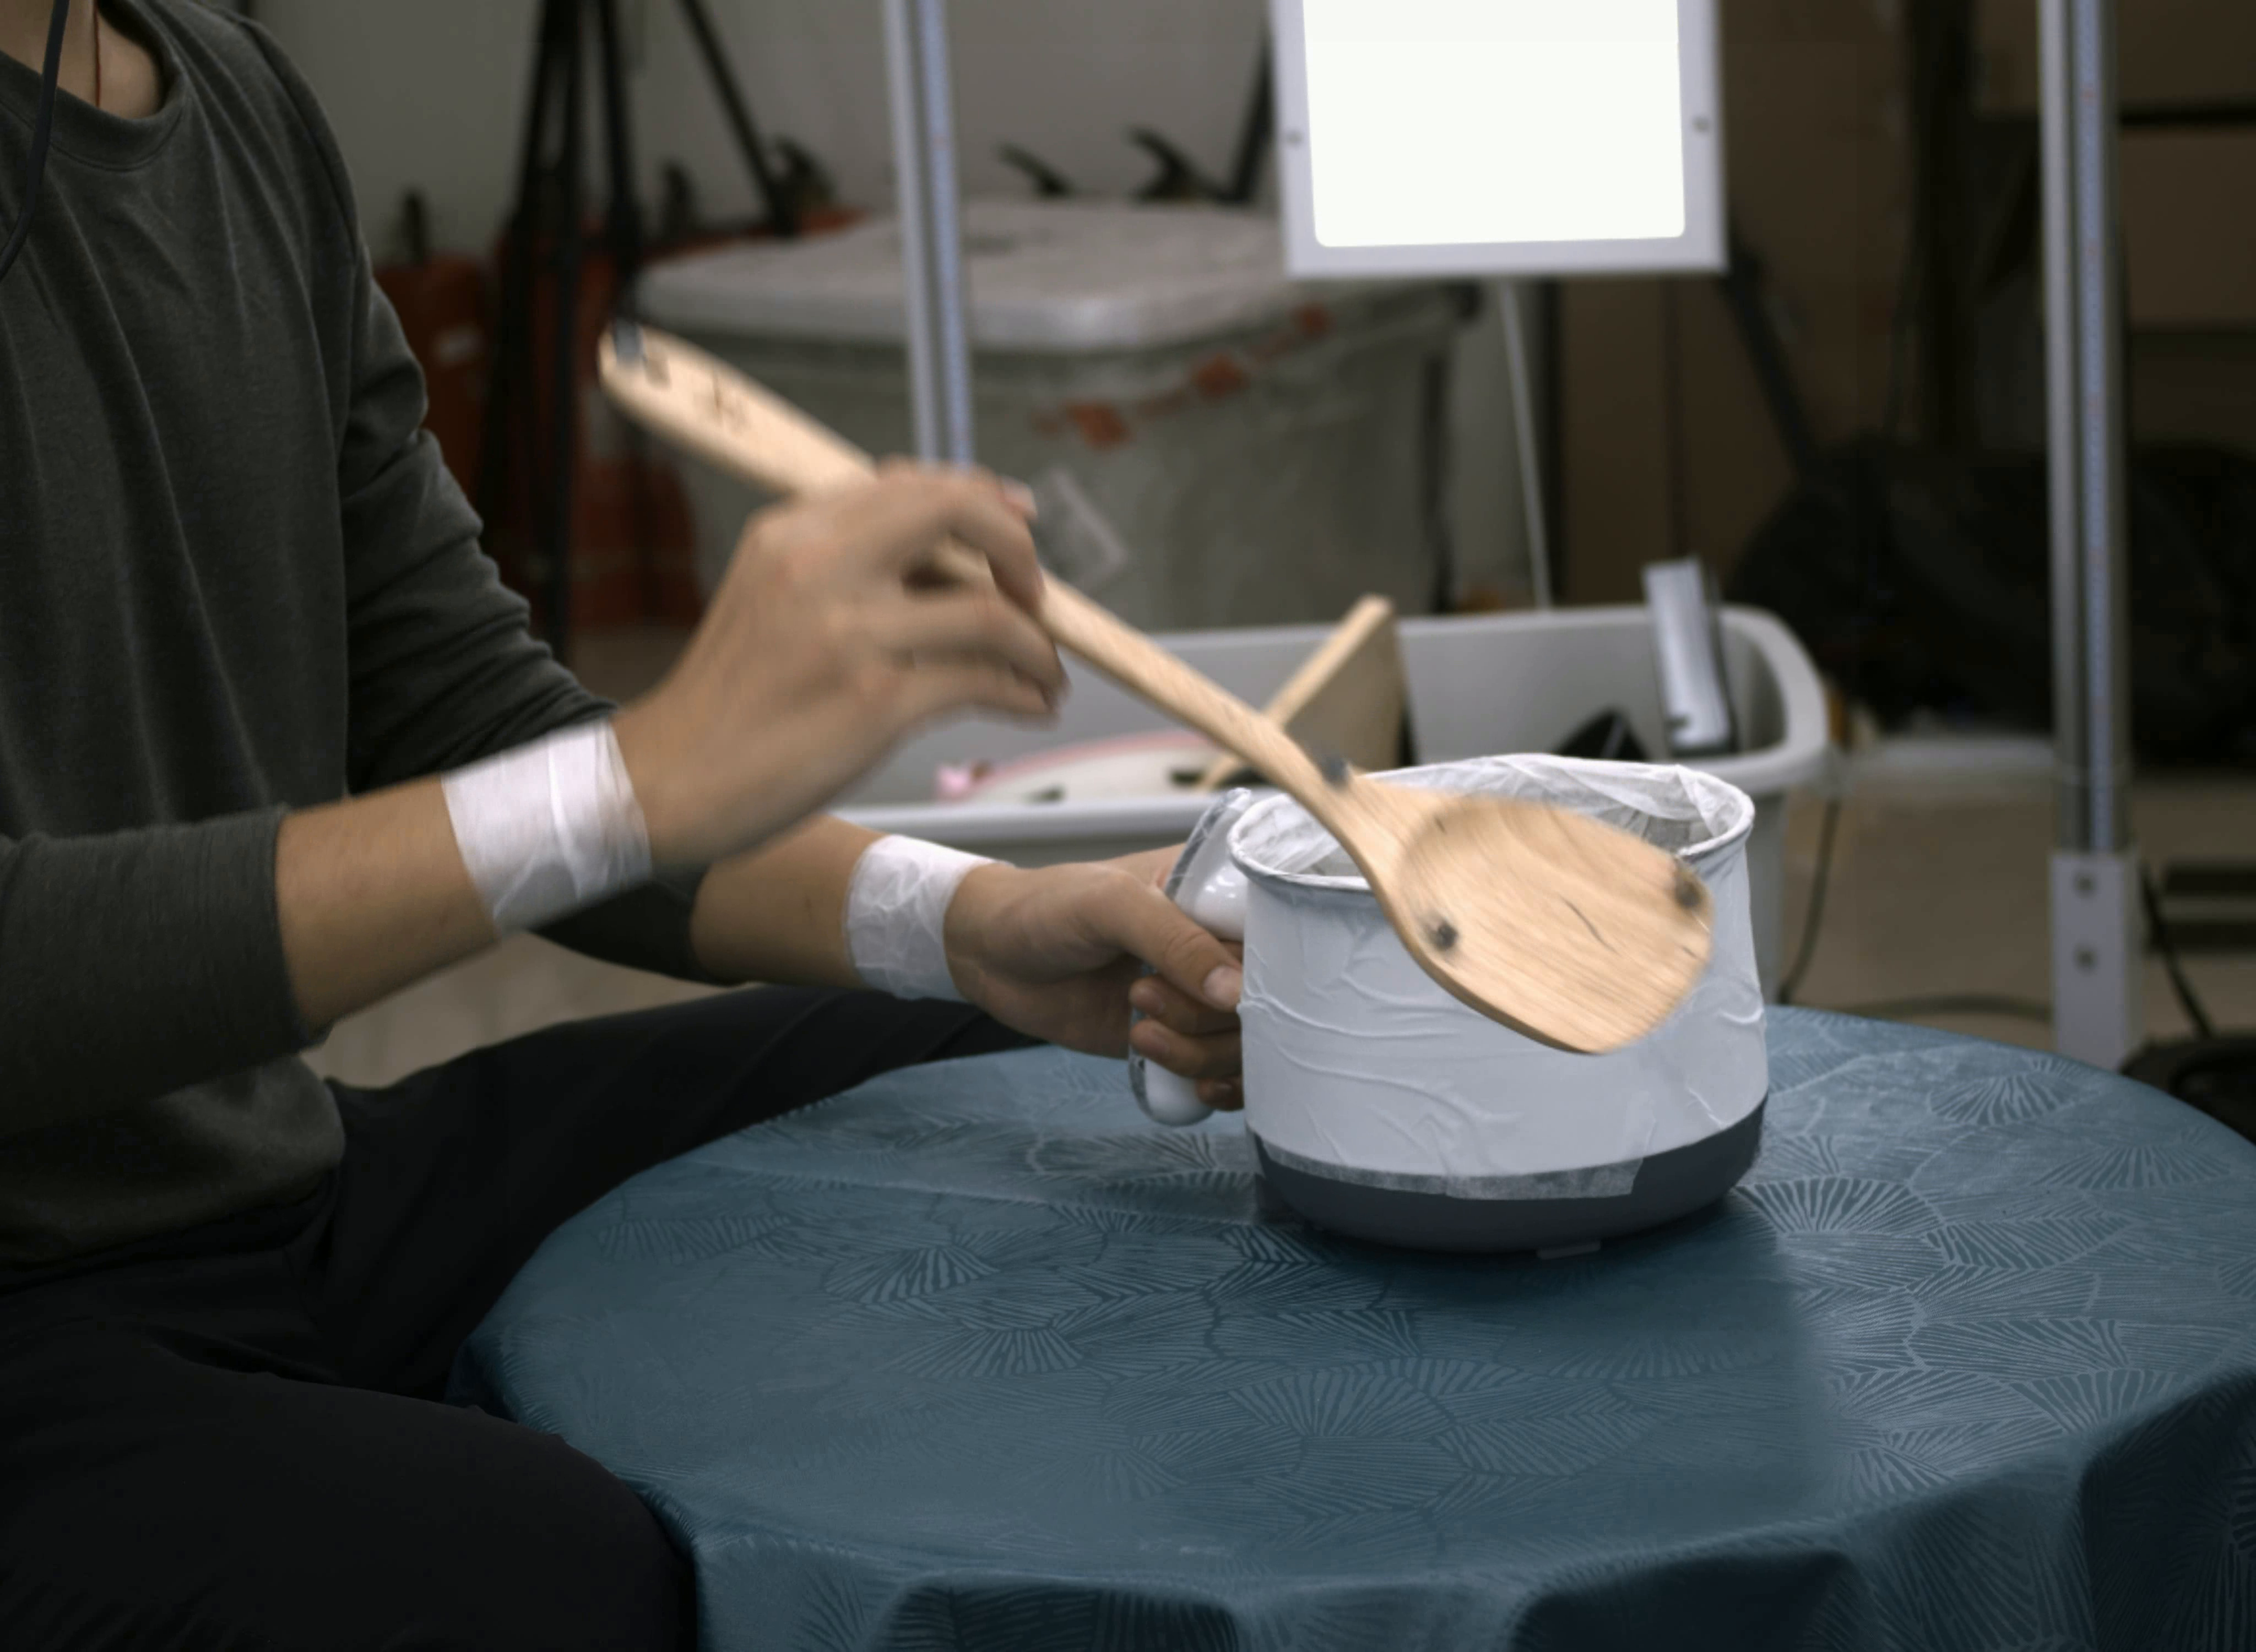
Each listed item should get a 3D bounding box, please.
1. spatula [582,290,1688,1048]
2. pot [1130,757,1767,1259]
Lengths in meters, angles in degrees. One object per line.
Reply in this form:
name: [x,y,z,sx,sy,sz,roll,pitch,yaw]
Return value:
spatula: [-0.006,-0.056,1.659,0.392,0.019,0.094,33,49,10]
pot: [0.102,0.058,1.858,0.238,0.137,0.174,4,16,33]
